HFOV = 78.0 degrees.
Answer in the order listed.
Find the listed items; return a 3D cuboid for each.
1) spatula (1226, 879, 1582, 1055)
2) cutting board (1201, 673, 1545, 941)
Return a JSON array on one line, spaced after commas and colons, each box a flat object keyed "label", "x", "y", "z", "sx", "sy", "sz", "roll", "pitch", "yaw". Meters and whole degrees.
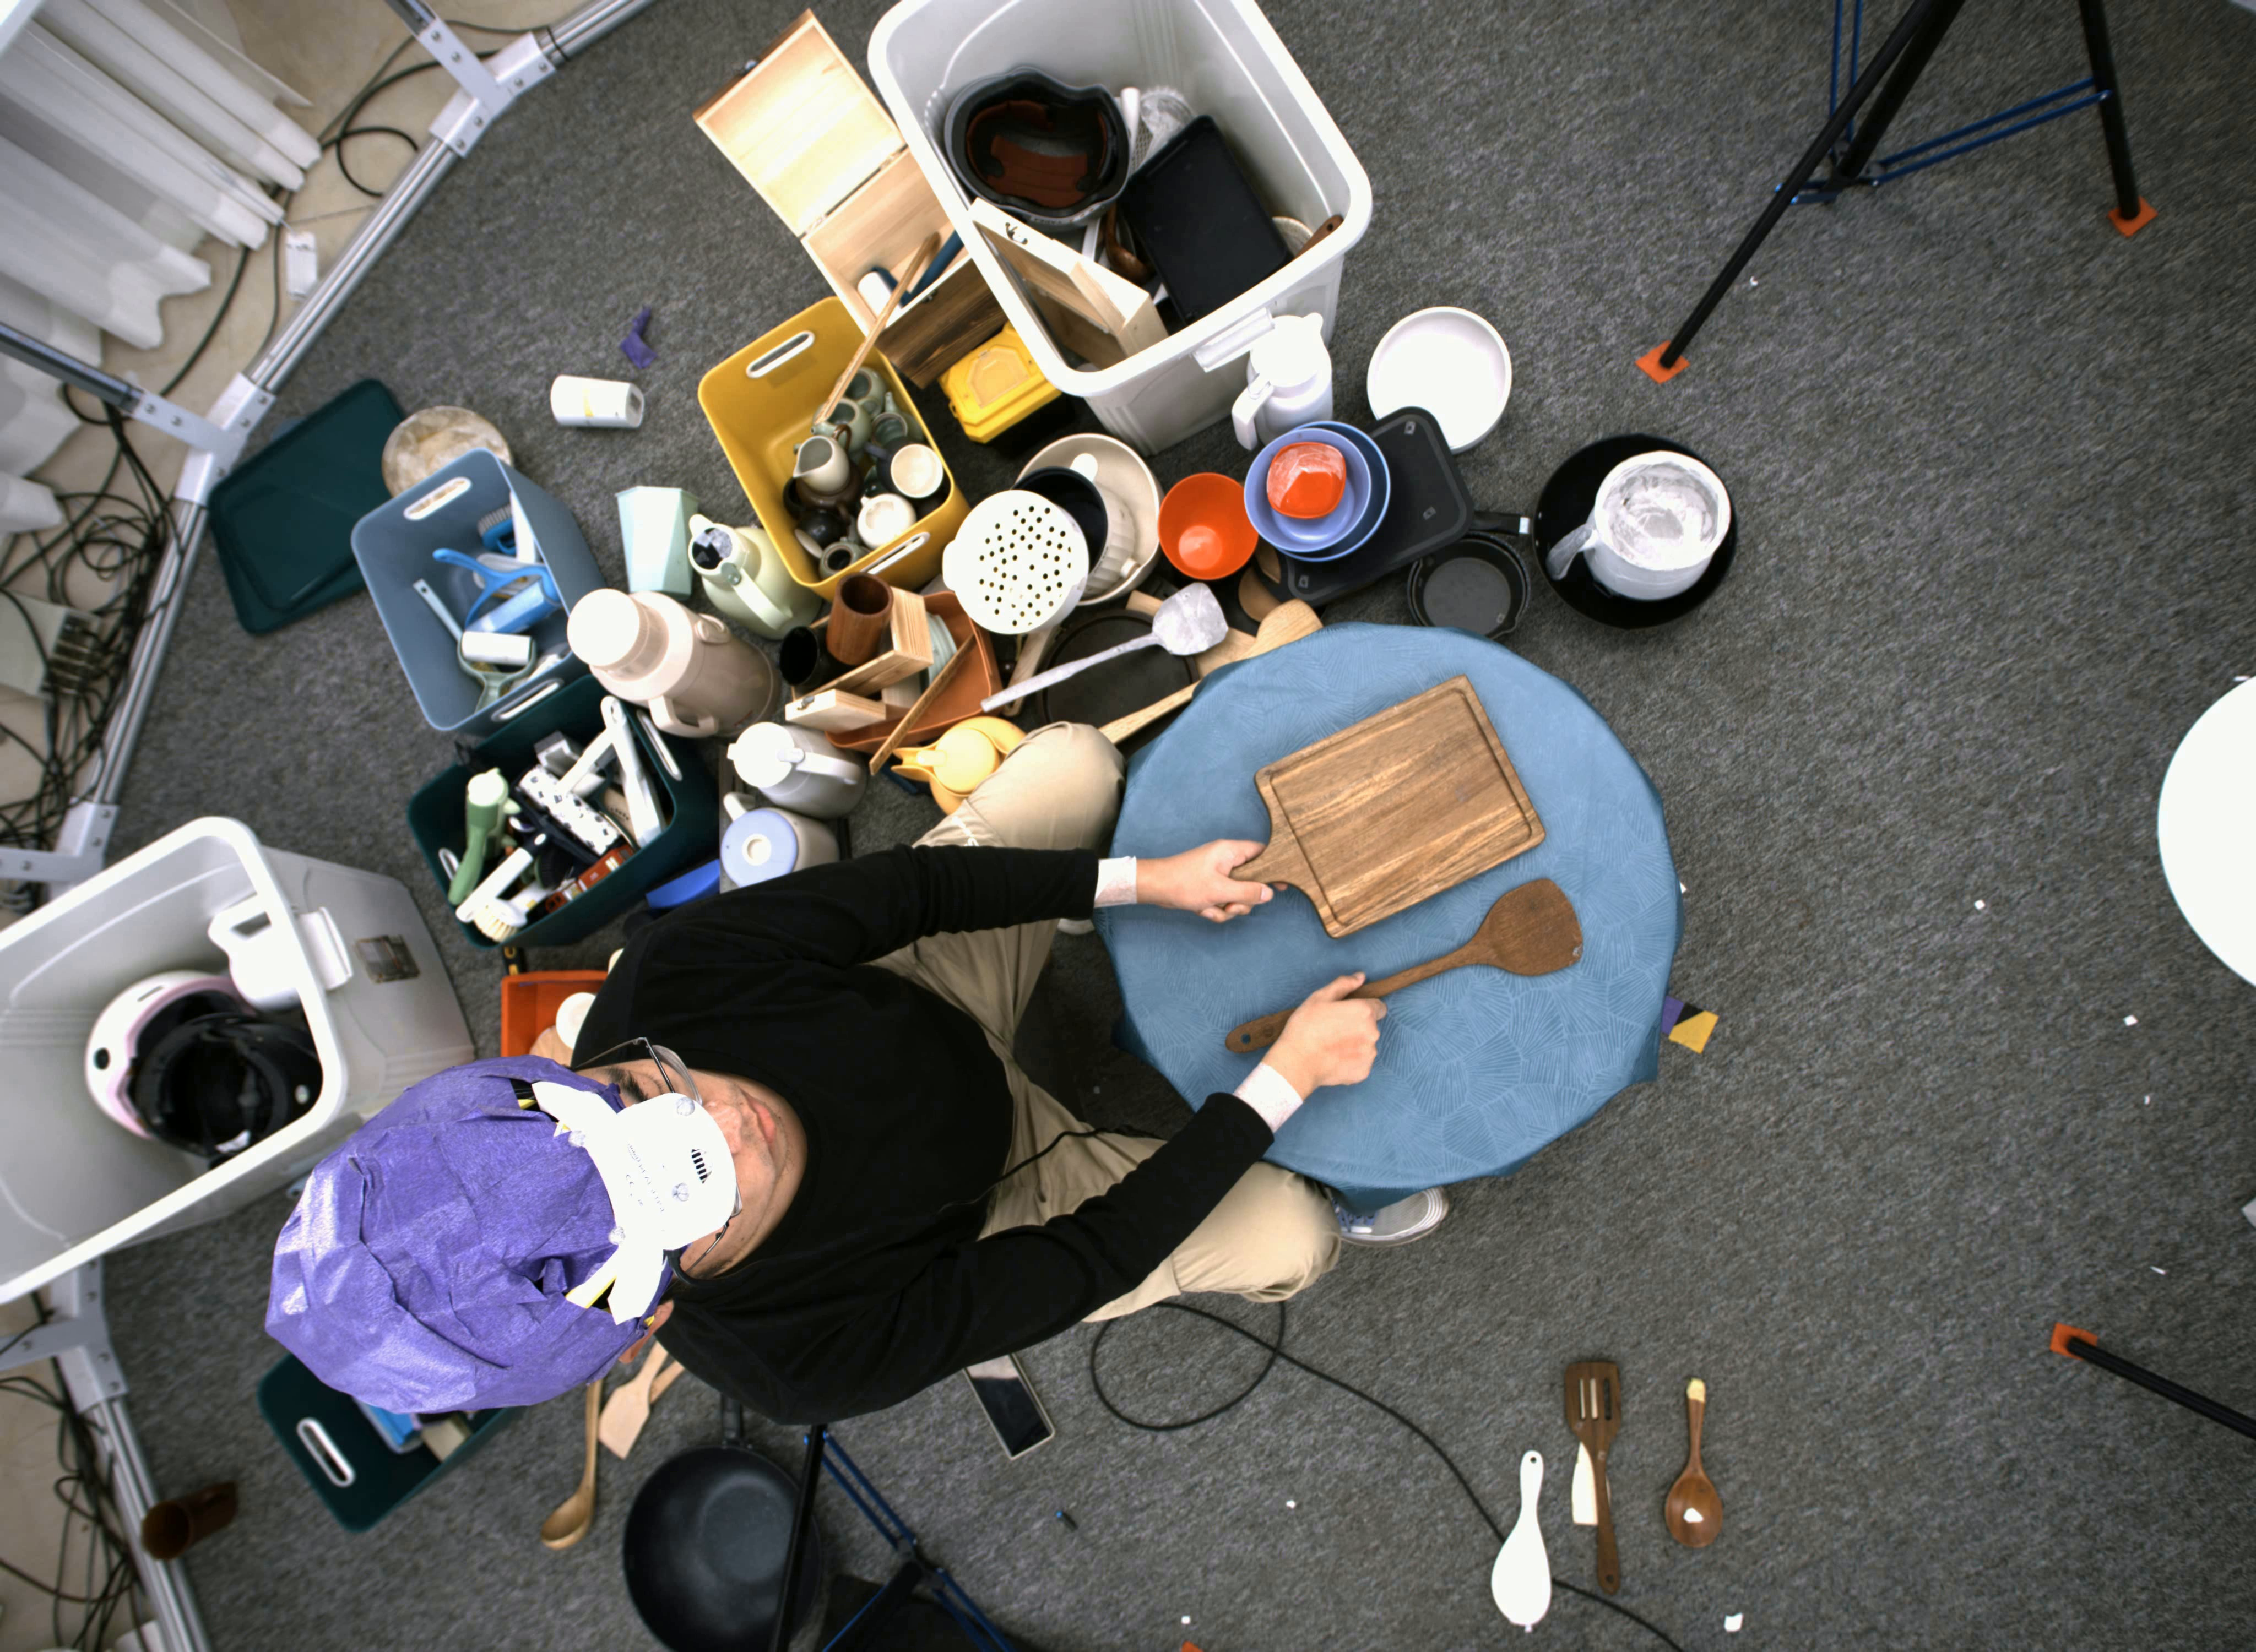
[{"label": "spatula", "x": 0.283, "y": 0.160, "z": 1.436, "sx": 0.387, "sy": 0.016, "sz": 0.095, "roll": -21, "pitch": 83, "yaw": 4}, {"label": "cutting board", "x": 0.236, "y": -0.001, "z": 1.436, "sx": 0.353, "sy": 0.023, "sz": 0.200, "roll": -26, "pitch": 86, "yaw": 2}]
